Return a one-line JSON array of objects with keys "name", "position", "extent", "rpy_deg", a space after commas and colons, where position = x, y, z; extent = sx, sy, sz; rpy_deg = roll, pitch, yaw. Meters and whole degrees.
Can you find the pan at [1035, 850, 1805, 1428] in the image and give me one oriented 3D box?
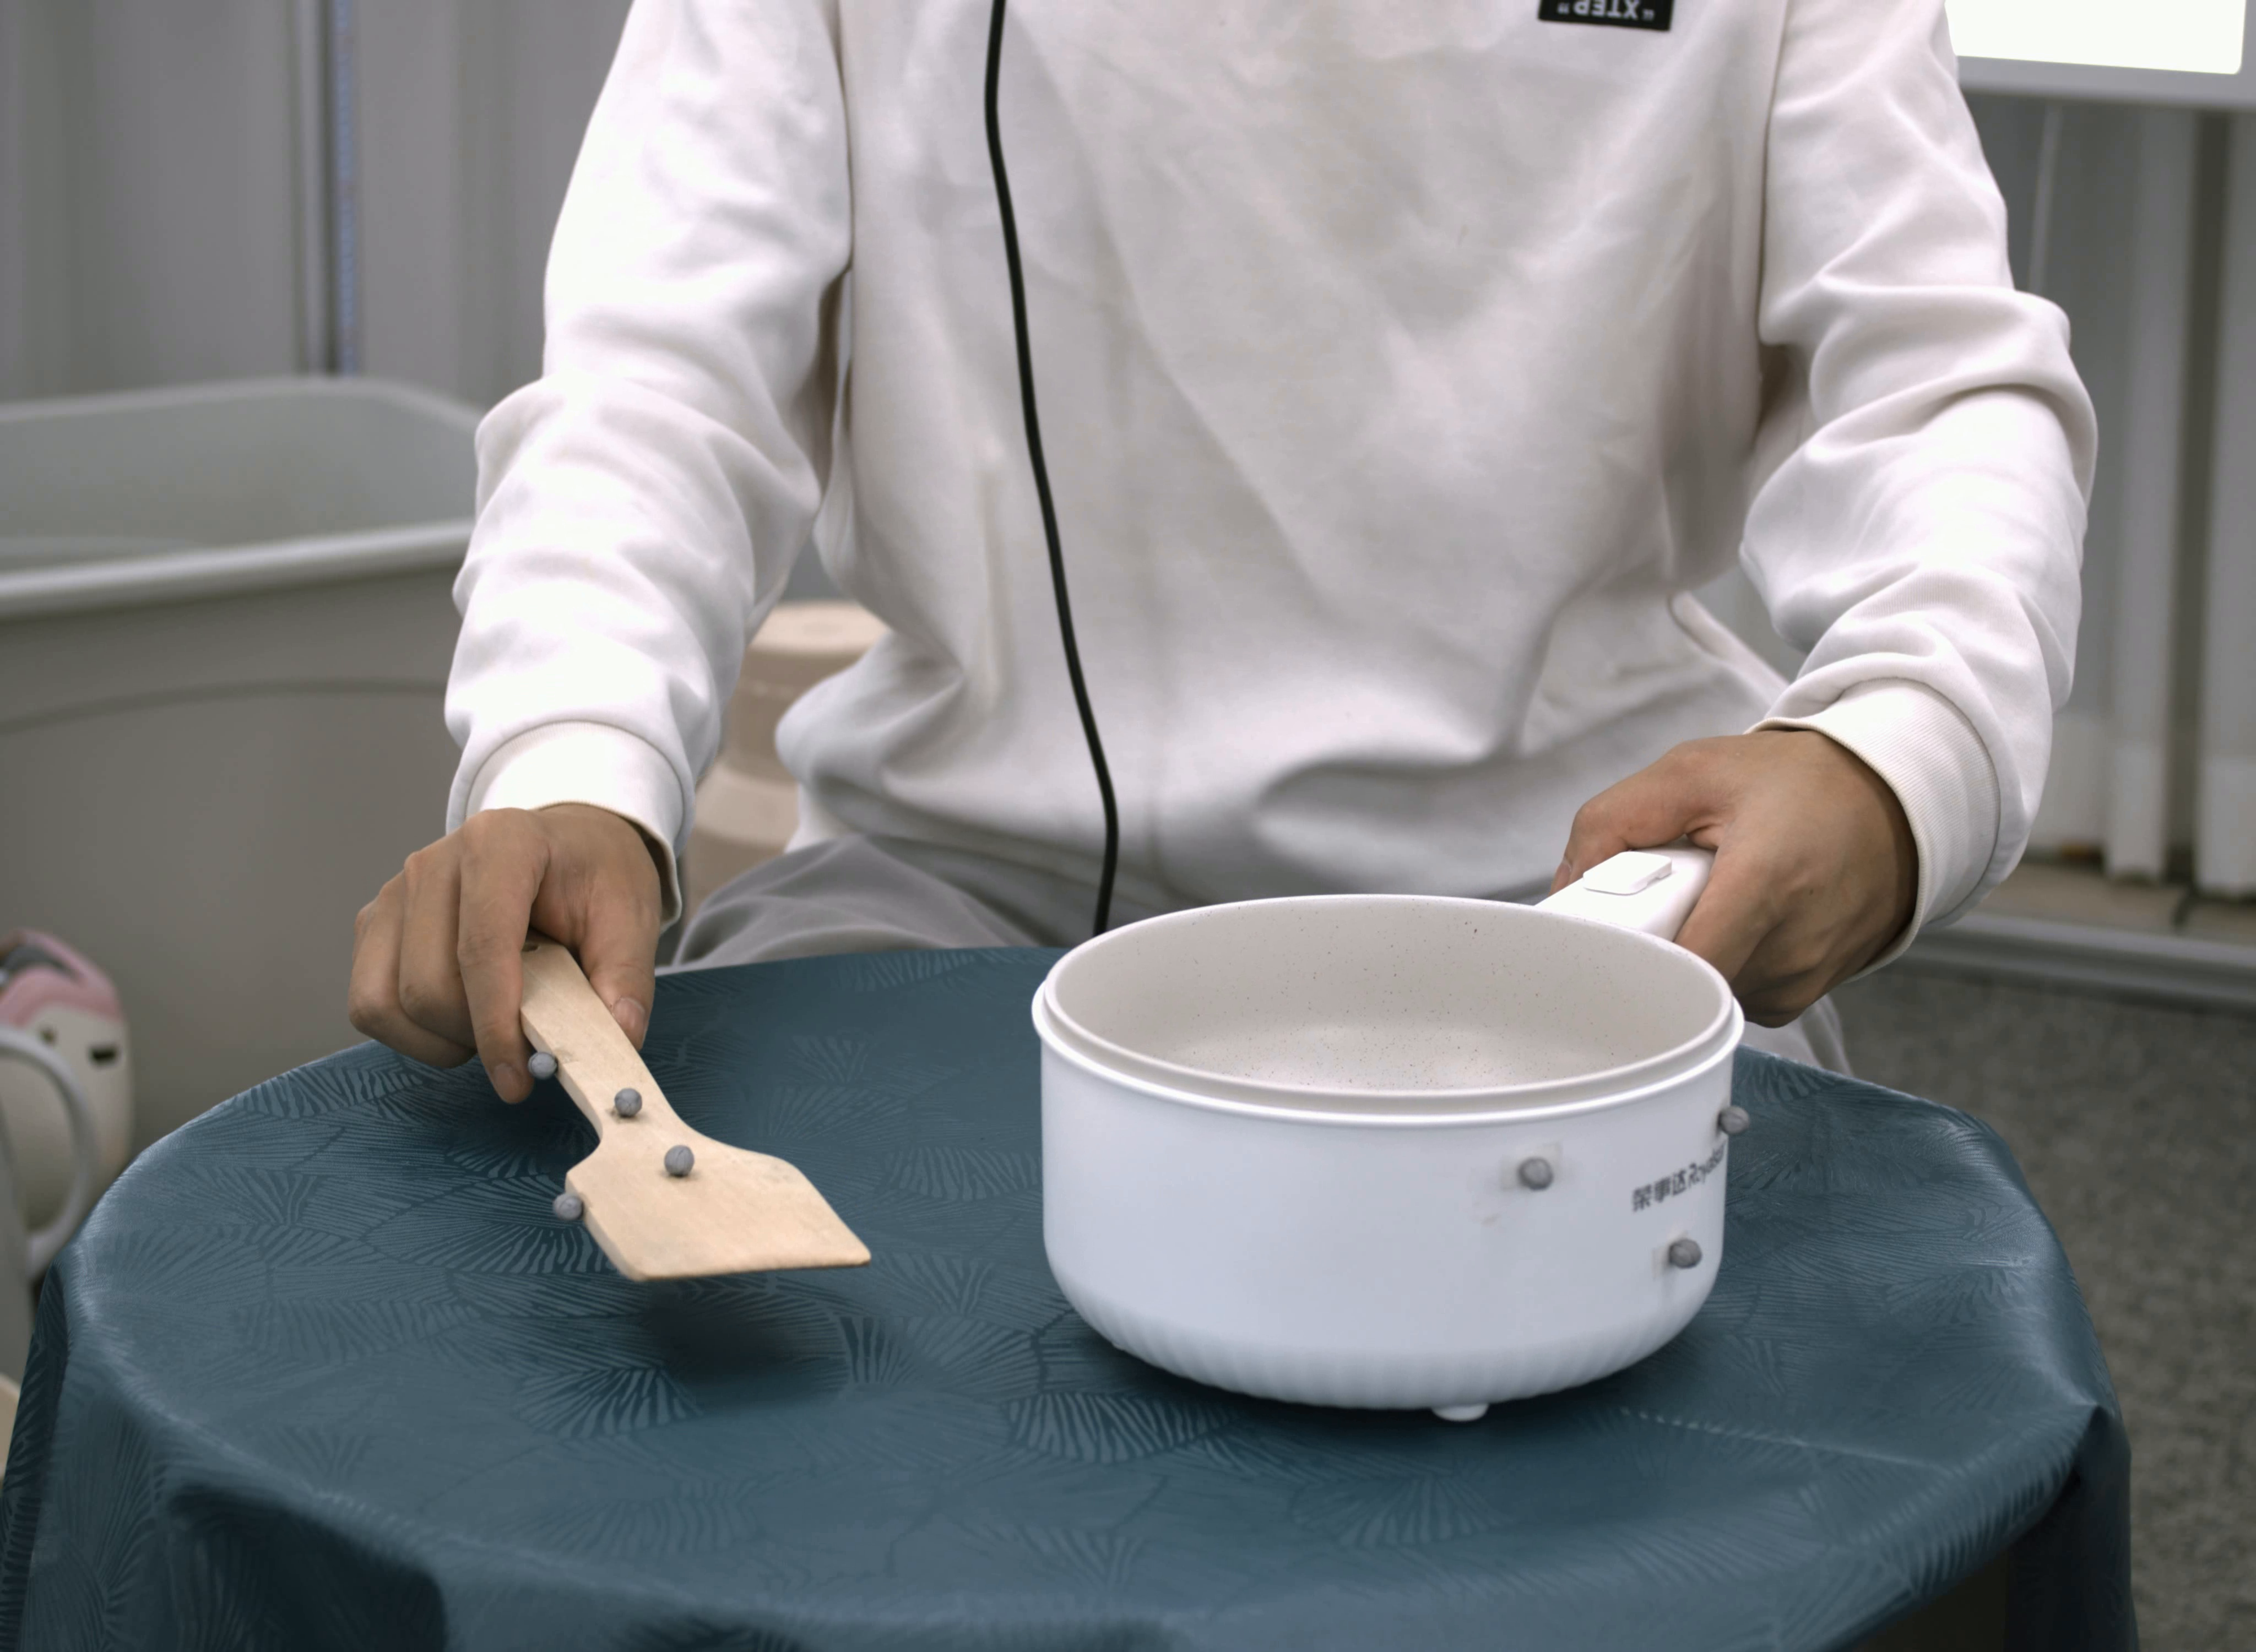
[{"name": "pan", "position": [0.113, 0.086, 1.567], "extent": [0.199, 0.103, 0.356], "rpy_deg": [5, 13, 29]}]
